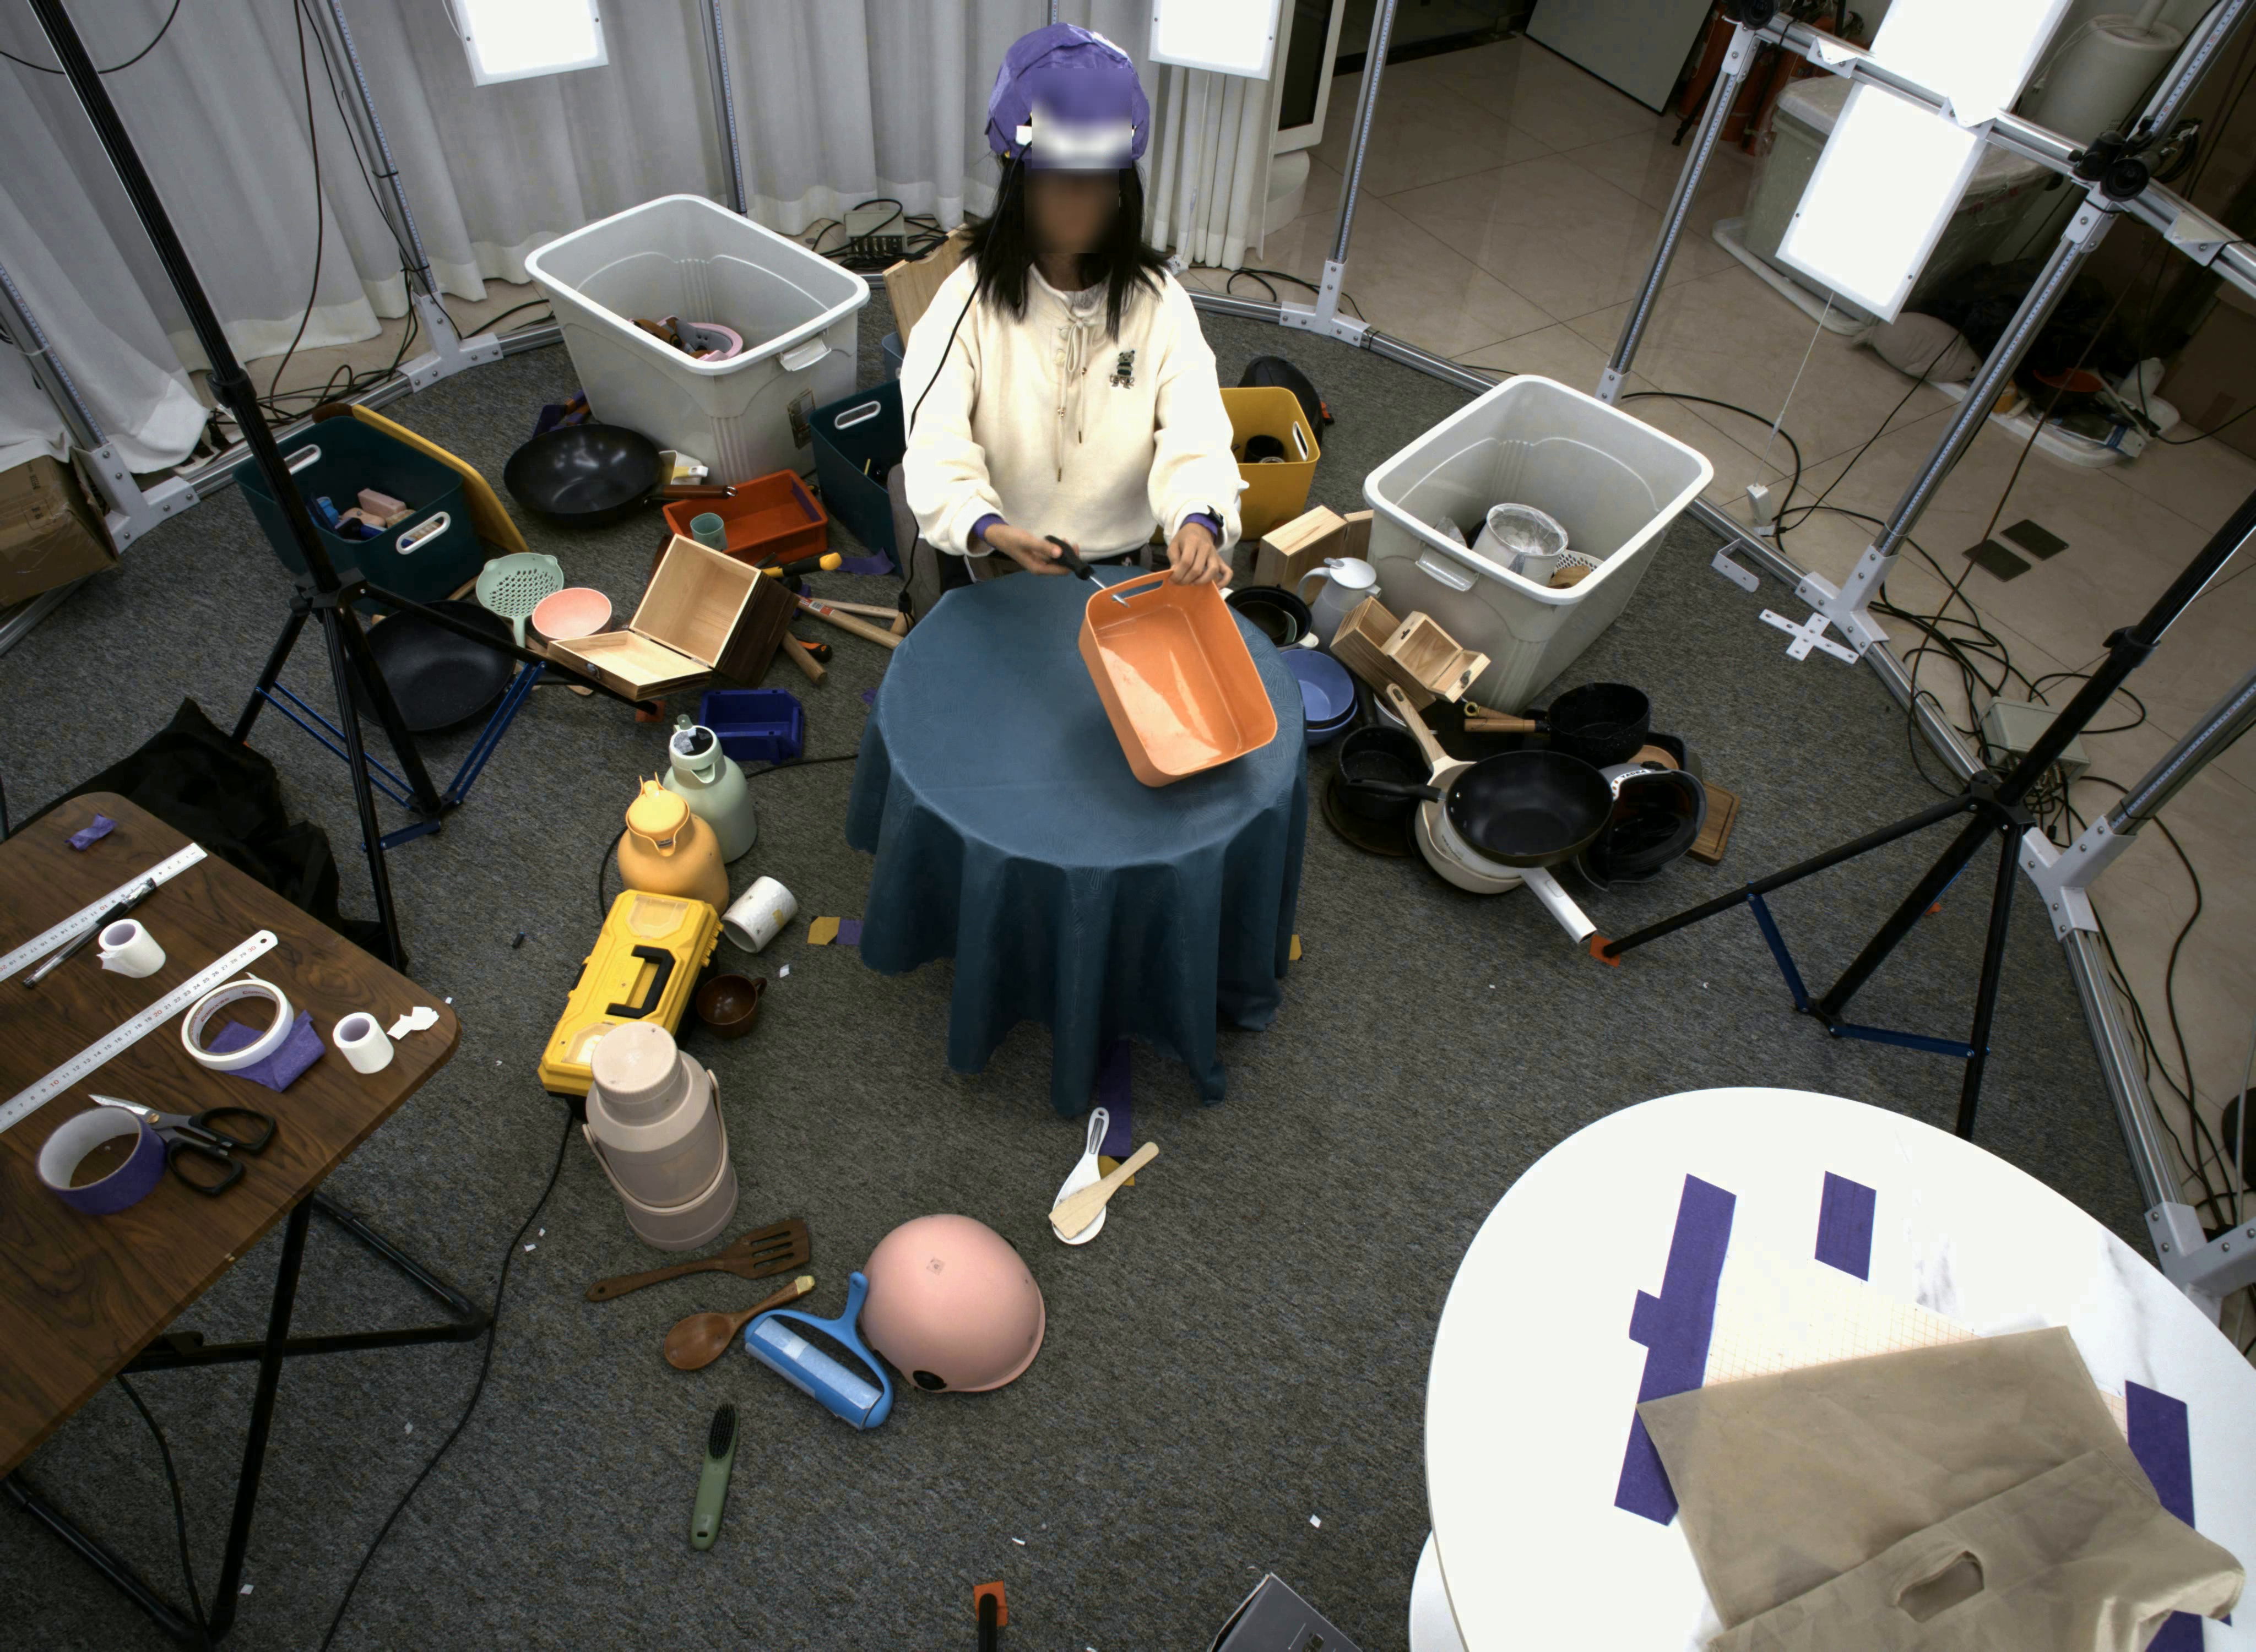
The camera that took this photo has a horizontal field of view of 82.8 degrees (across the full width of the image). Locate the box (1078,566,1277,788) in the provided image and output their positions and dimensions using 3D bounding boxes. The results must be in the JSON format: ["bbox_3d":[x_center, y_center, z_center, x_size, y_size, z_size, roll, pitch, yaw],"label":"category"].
[{"bbox_3d":[0.059,-0.194,1.717,0.200,0.101,0.275,-20,80,-19],"label":"box"}]

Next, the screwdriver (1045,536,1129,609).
[{"bbox_3d":[-0.052,-0.348,1.768,0.031,0.030,0.200,-28,50,-26],"label":"screwdriver"}]
